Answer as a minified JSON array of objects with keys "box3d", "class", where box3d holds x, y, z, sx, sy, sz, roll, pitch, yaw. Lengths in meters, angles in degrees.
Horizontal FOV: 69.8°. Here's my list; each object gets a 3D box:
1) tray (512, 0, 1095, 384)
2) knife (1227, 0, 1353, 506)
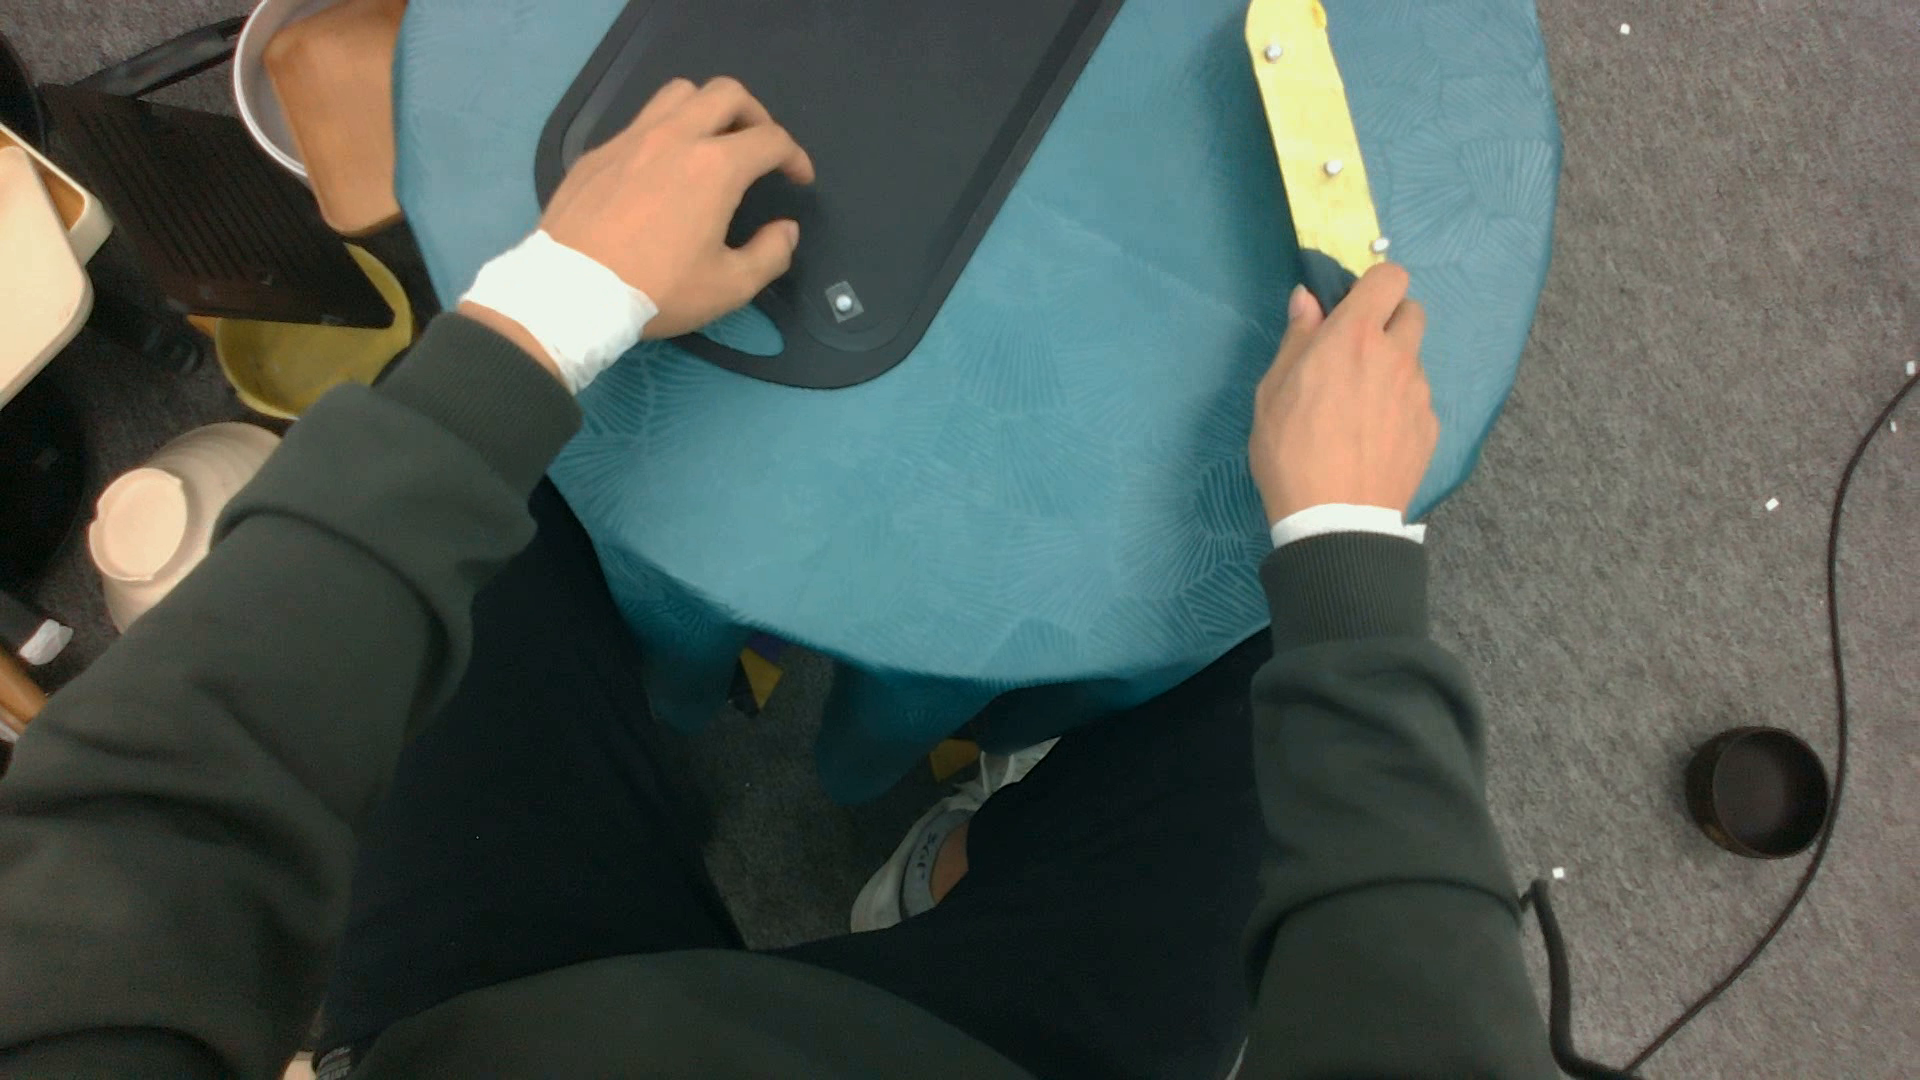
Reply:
[{"box3d":[-0.074,-0.237,0.698,0.211,0.010,0.326,31,78,-2],"class":"tray"},{"box3d":[0.170,-0.159,0.694,0.081,0.027,0.290,0,81,-48],"class":"knife"}]
